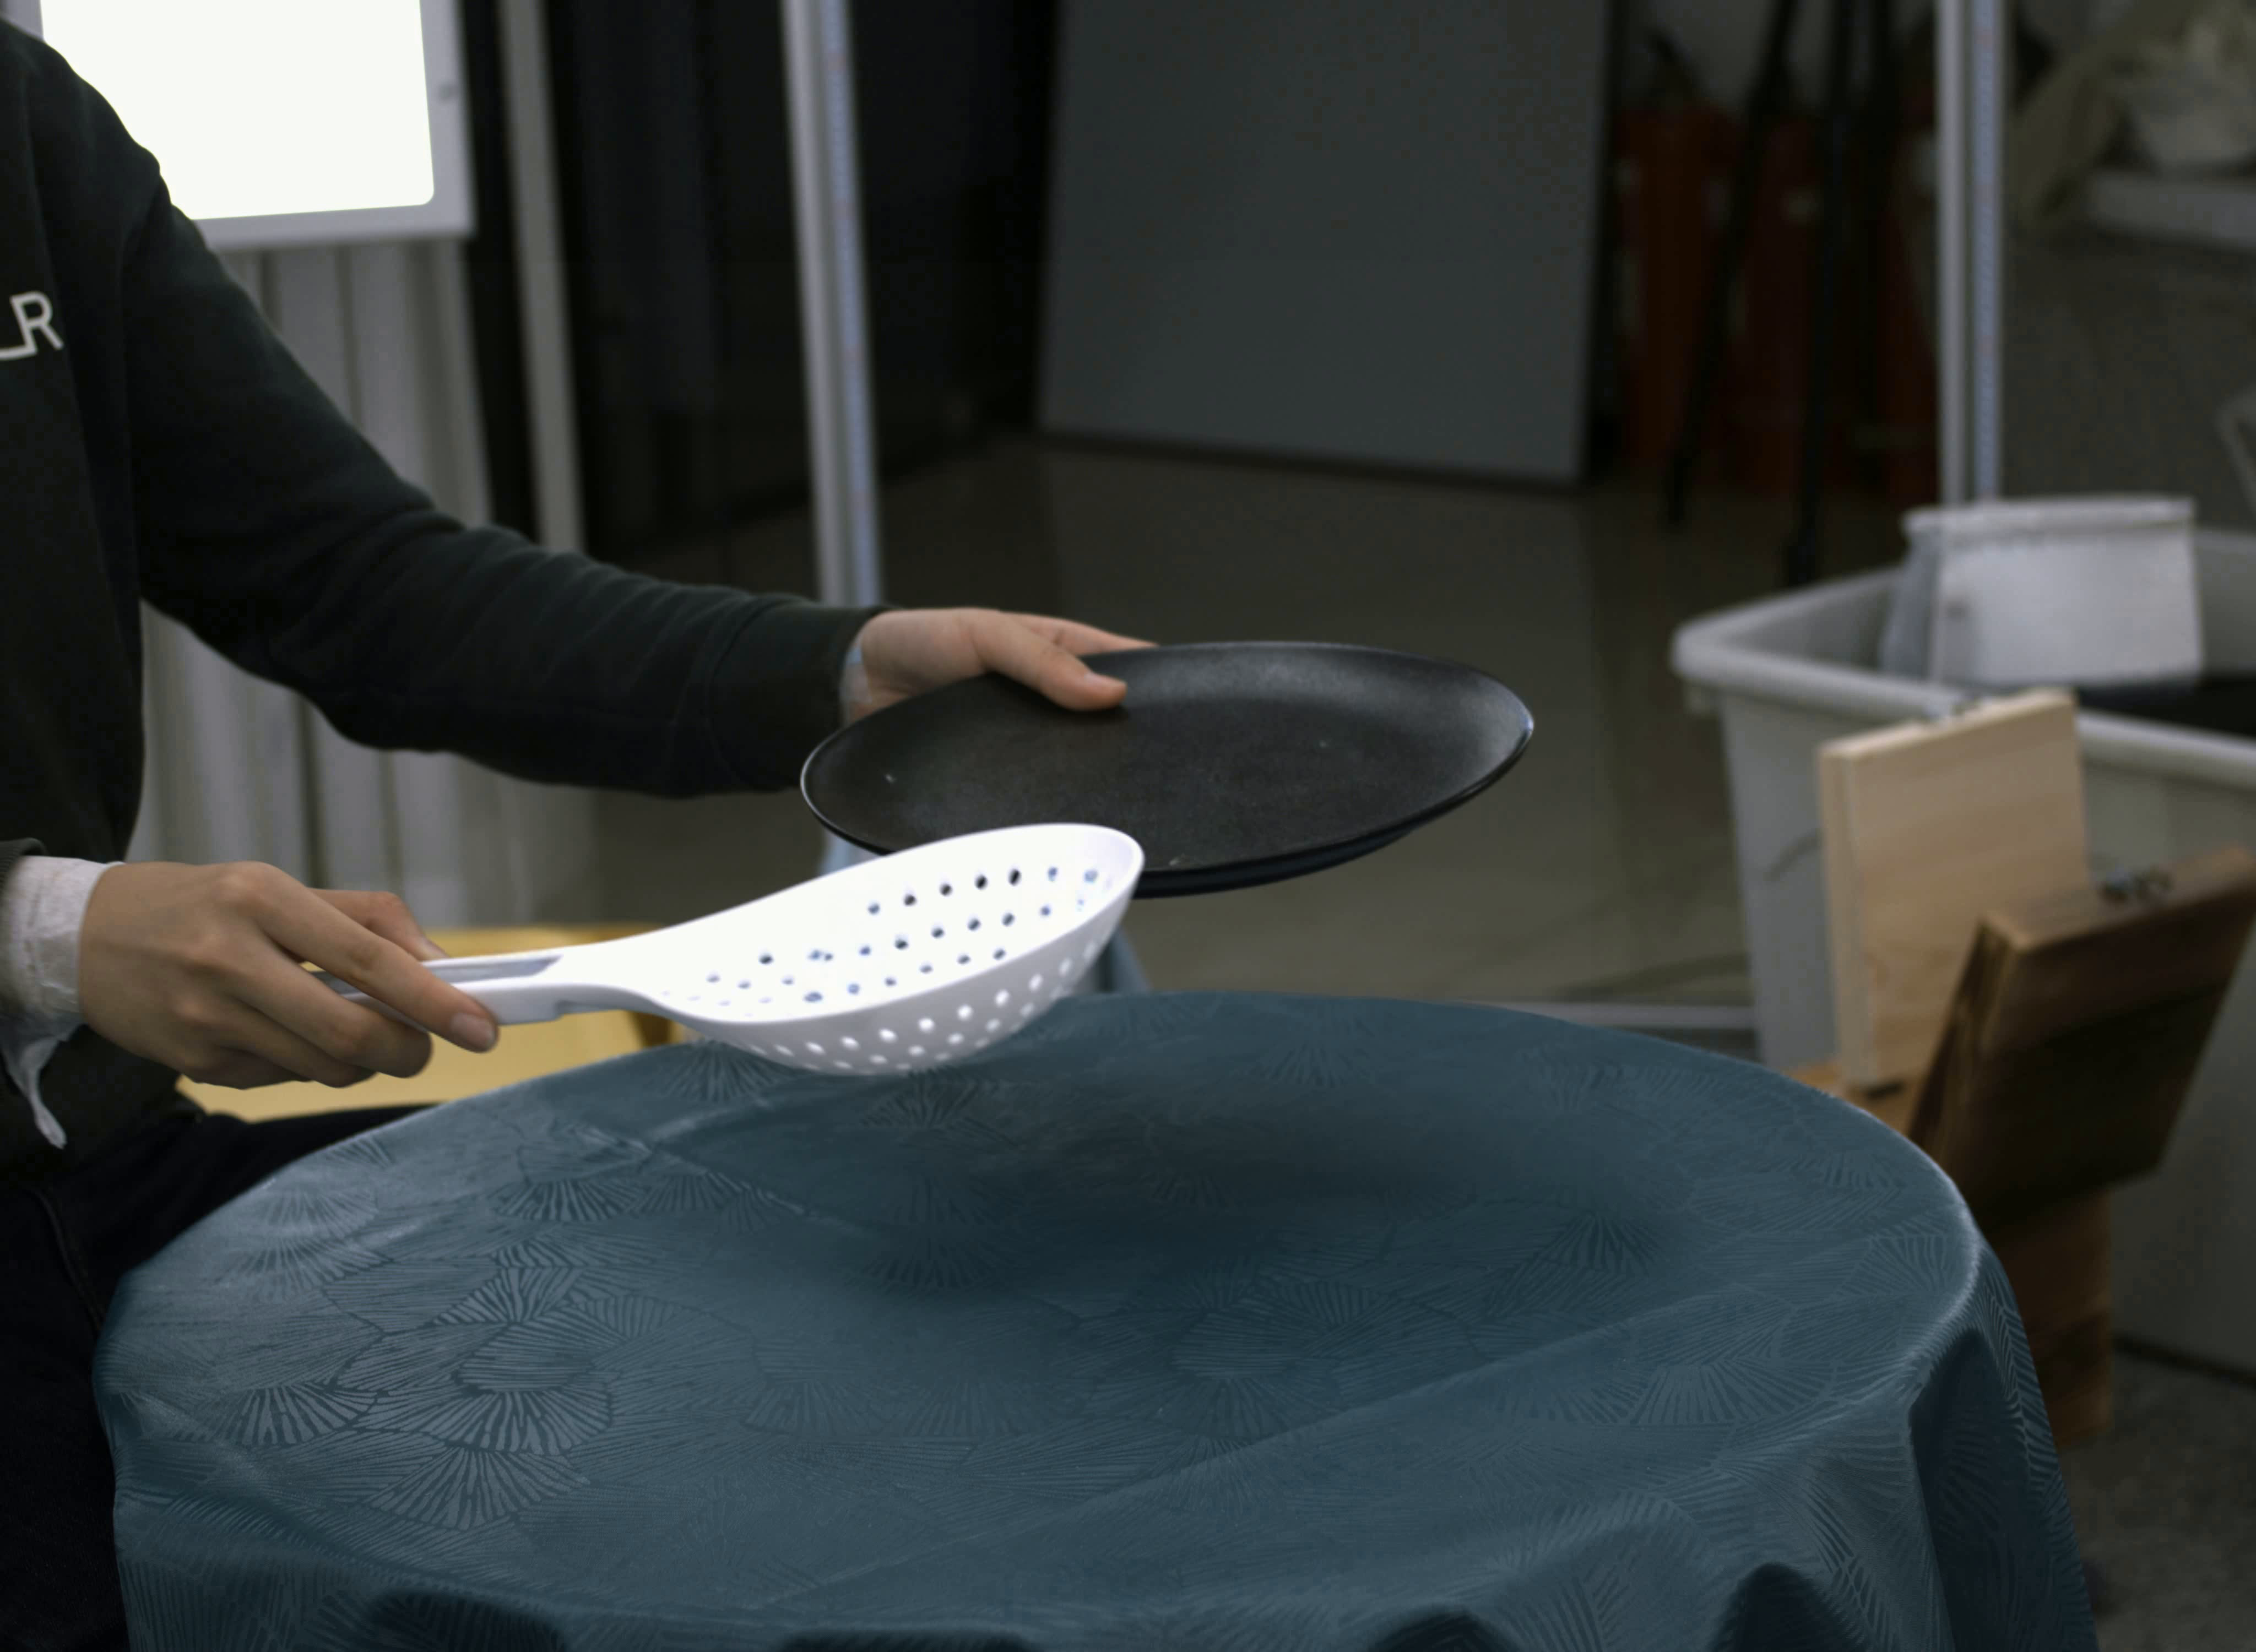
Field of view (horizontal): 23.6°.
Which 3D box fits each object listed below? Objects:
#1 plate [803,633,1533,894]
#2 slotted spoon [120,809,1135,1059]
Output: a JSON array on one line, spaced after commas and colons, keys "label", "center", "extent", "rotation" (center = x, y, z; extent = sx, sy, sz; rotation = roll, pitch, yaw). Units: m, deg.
[{"label": "plate", "center": [0.013, -0.018, 1.768], "extent": [0.241, 0.023, 0.245], "rotation": [-6, 18, 1]}, {"label": "slotted spoon", "center": [-0.151, 0.040, 1.547], "extent": [0.351, 0.046, 0.134], "rotation": [-2, 20, 31]}]
